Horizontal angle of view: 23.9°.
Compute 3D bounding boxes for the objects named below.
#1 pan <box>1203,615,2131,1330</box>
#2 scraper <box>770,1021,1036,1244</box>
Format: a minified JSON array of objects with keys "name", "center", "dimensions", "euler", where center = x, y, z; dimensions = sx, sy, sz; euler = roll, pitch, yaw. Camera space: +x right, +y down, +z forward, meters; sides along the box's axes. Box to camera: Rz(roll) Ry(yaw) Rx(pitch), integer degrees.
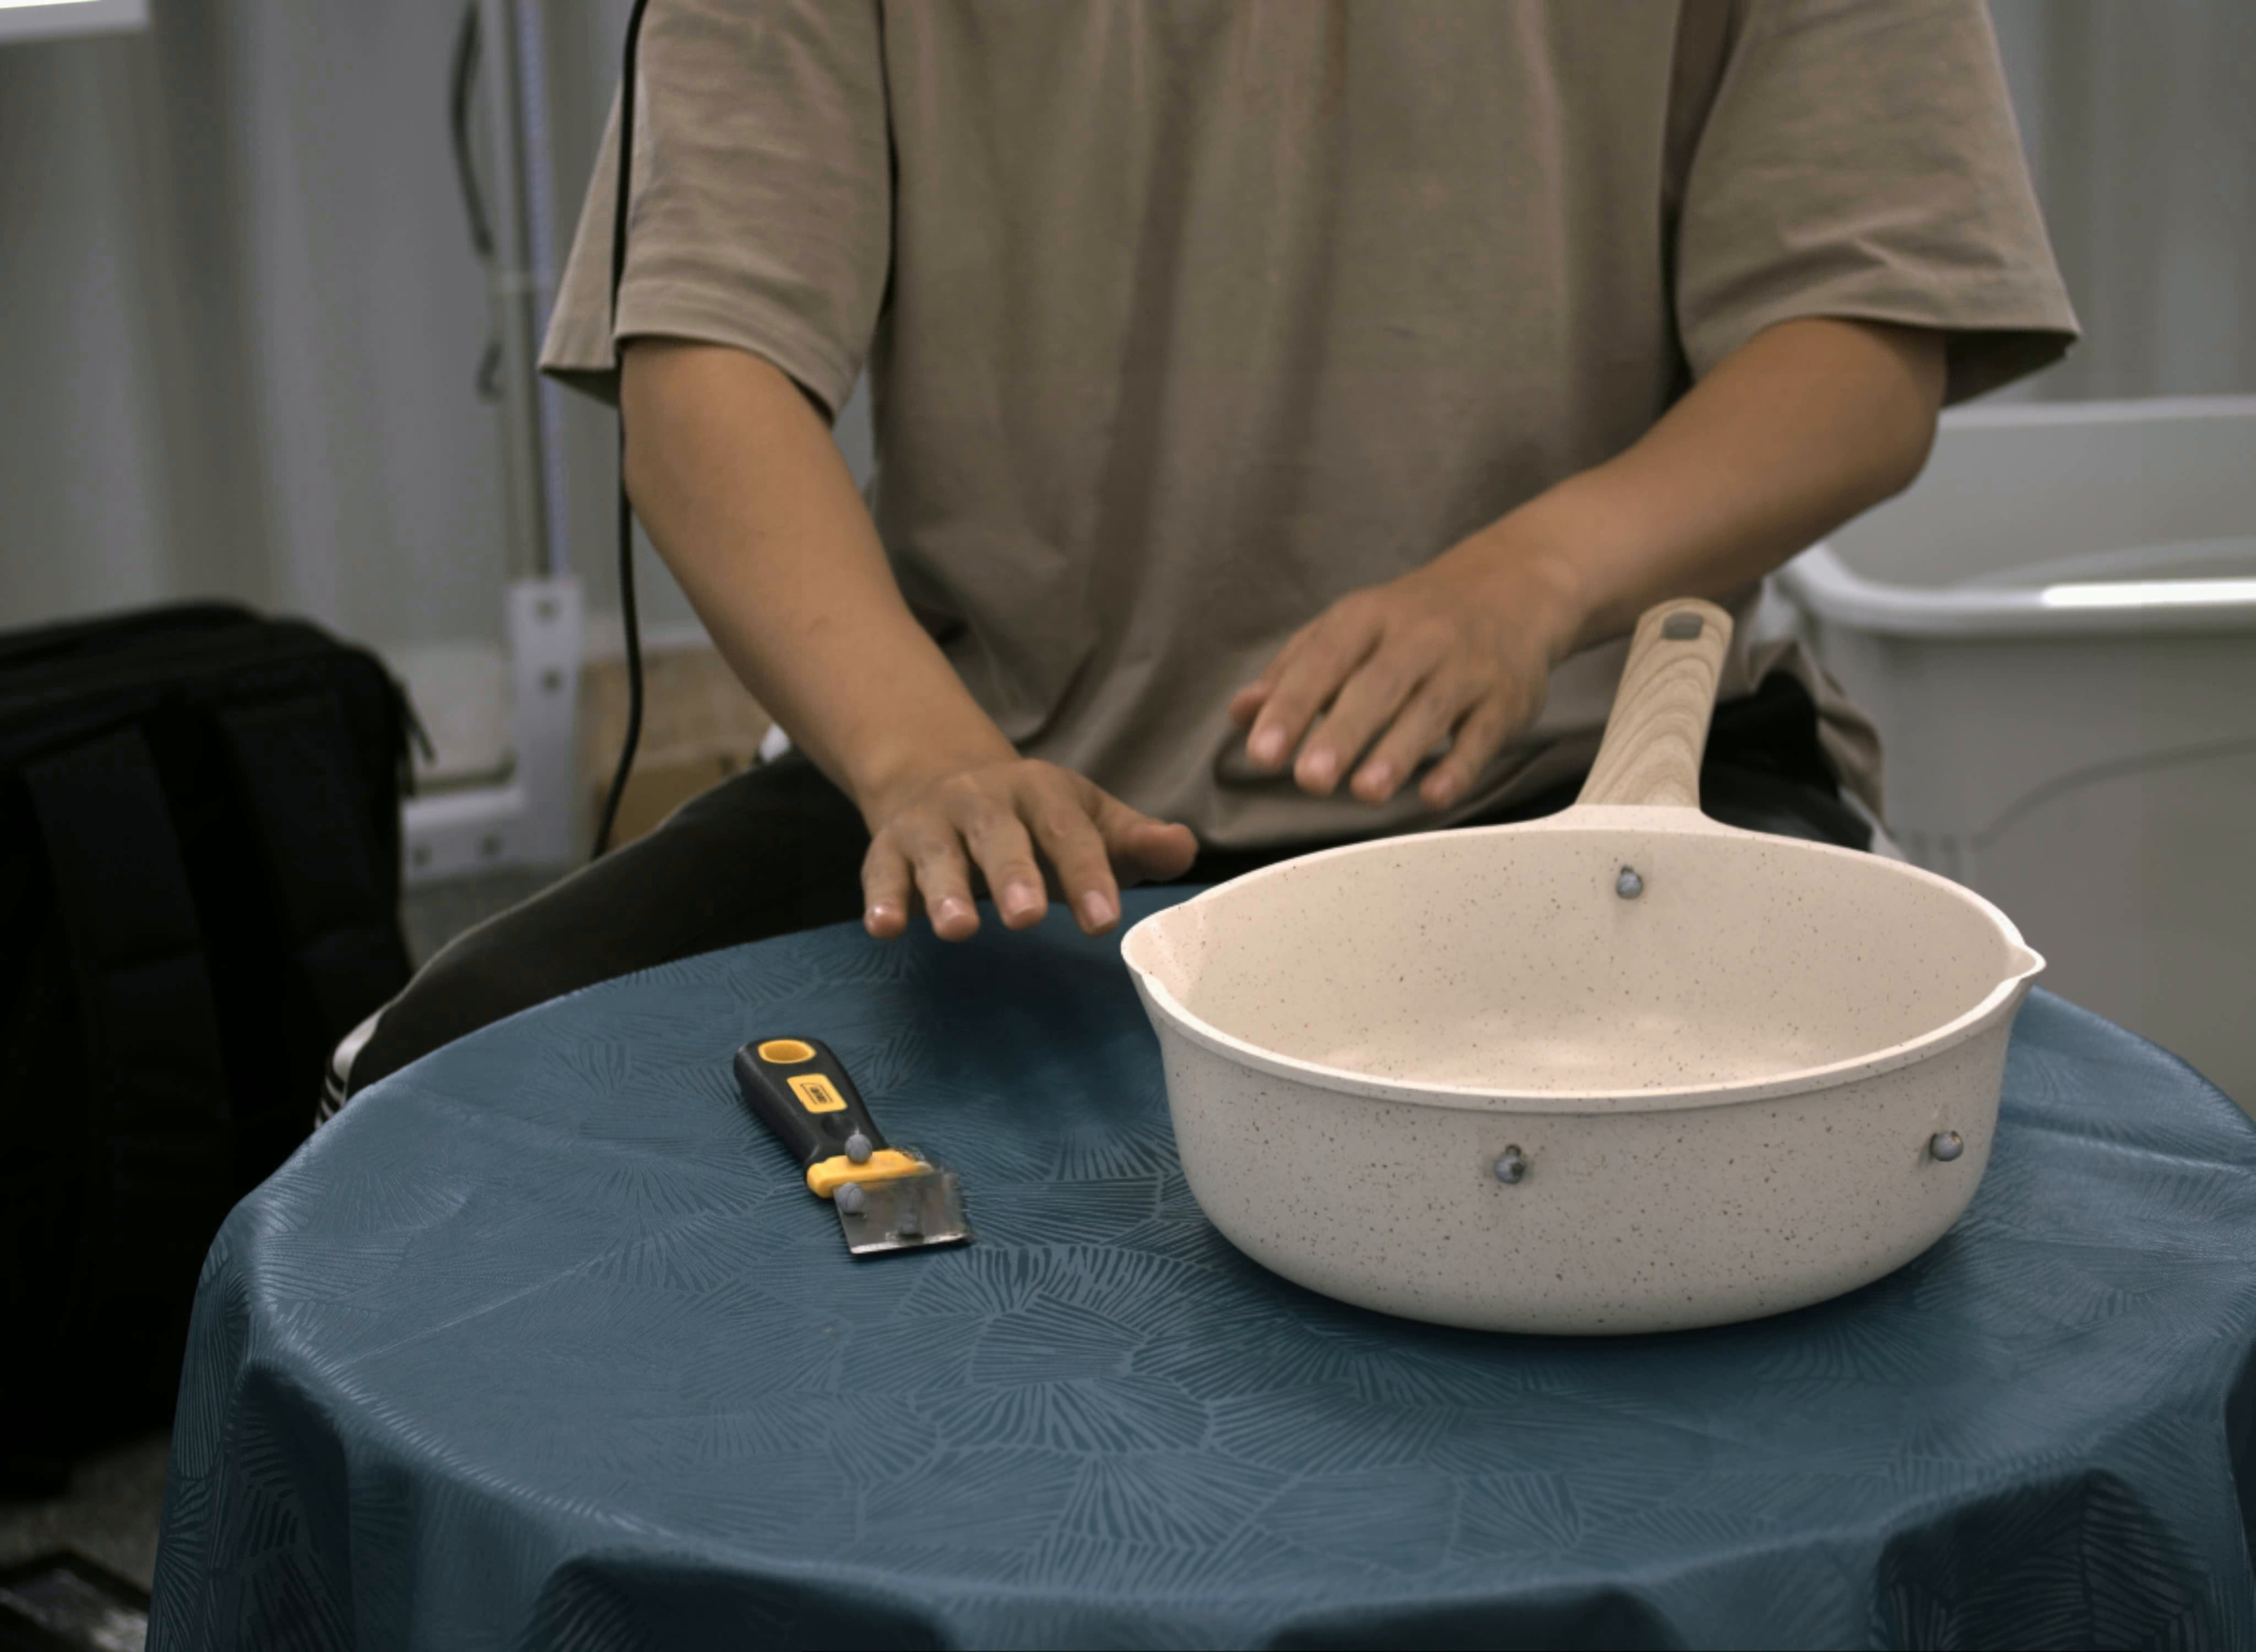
[{"name":"pan","center":[0.171,0.039,1.589],"dimensions":[0.265,0.102,0.432],"euler":[-1,16,12]},{"name":"scraper","center":[-0.072,0.091,1.585],"dimensions":[0.038,0.015,0.174],"euler":[-12,21,-17]}]
